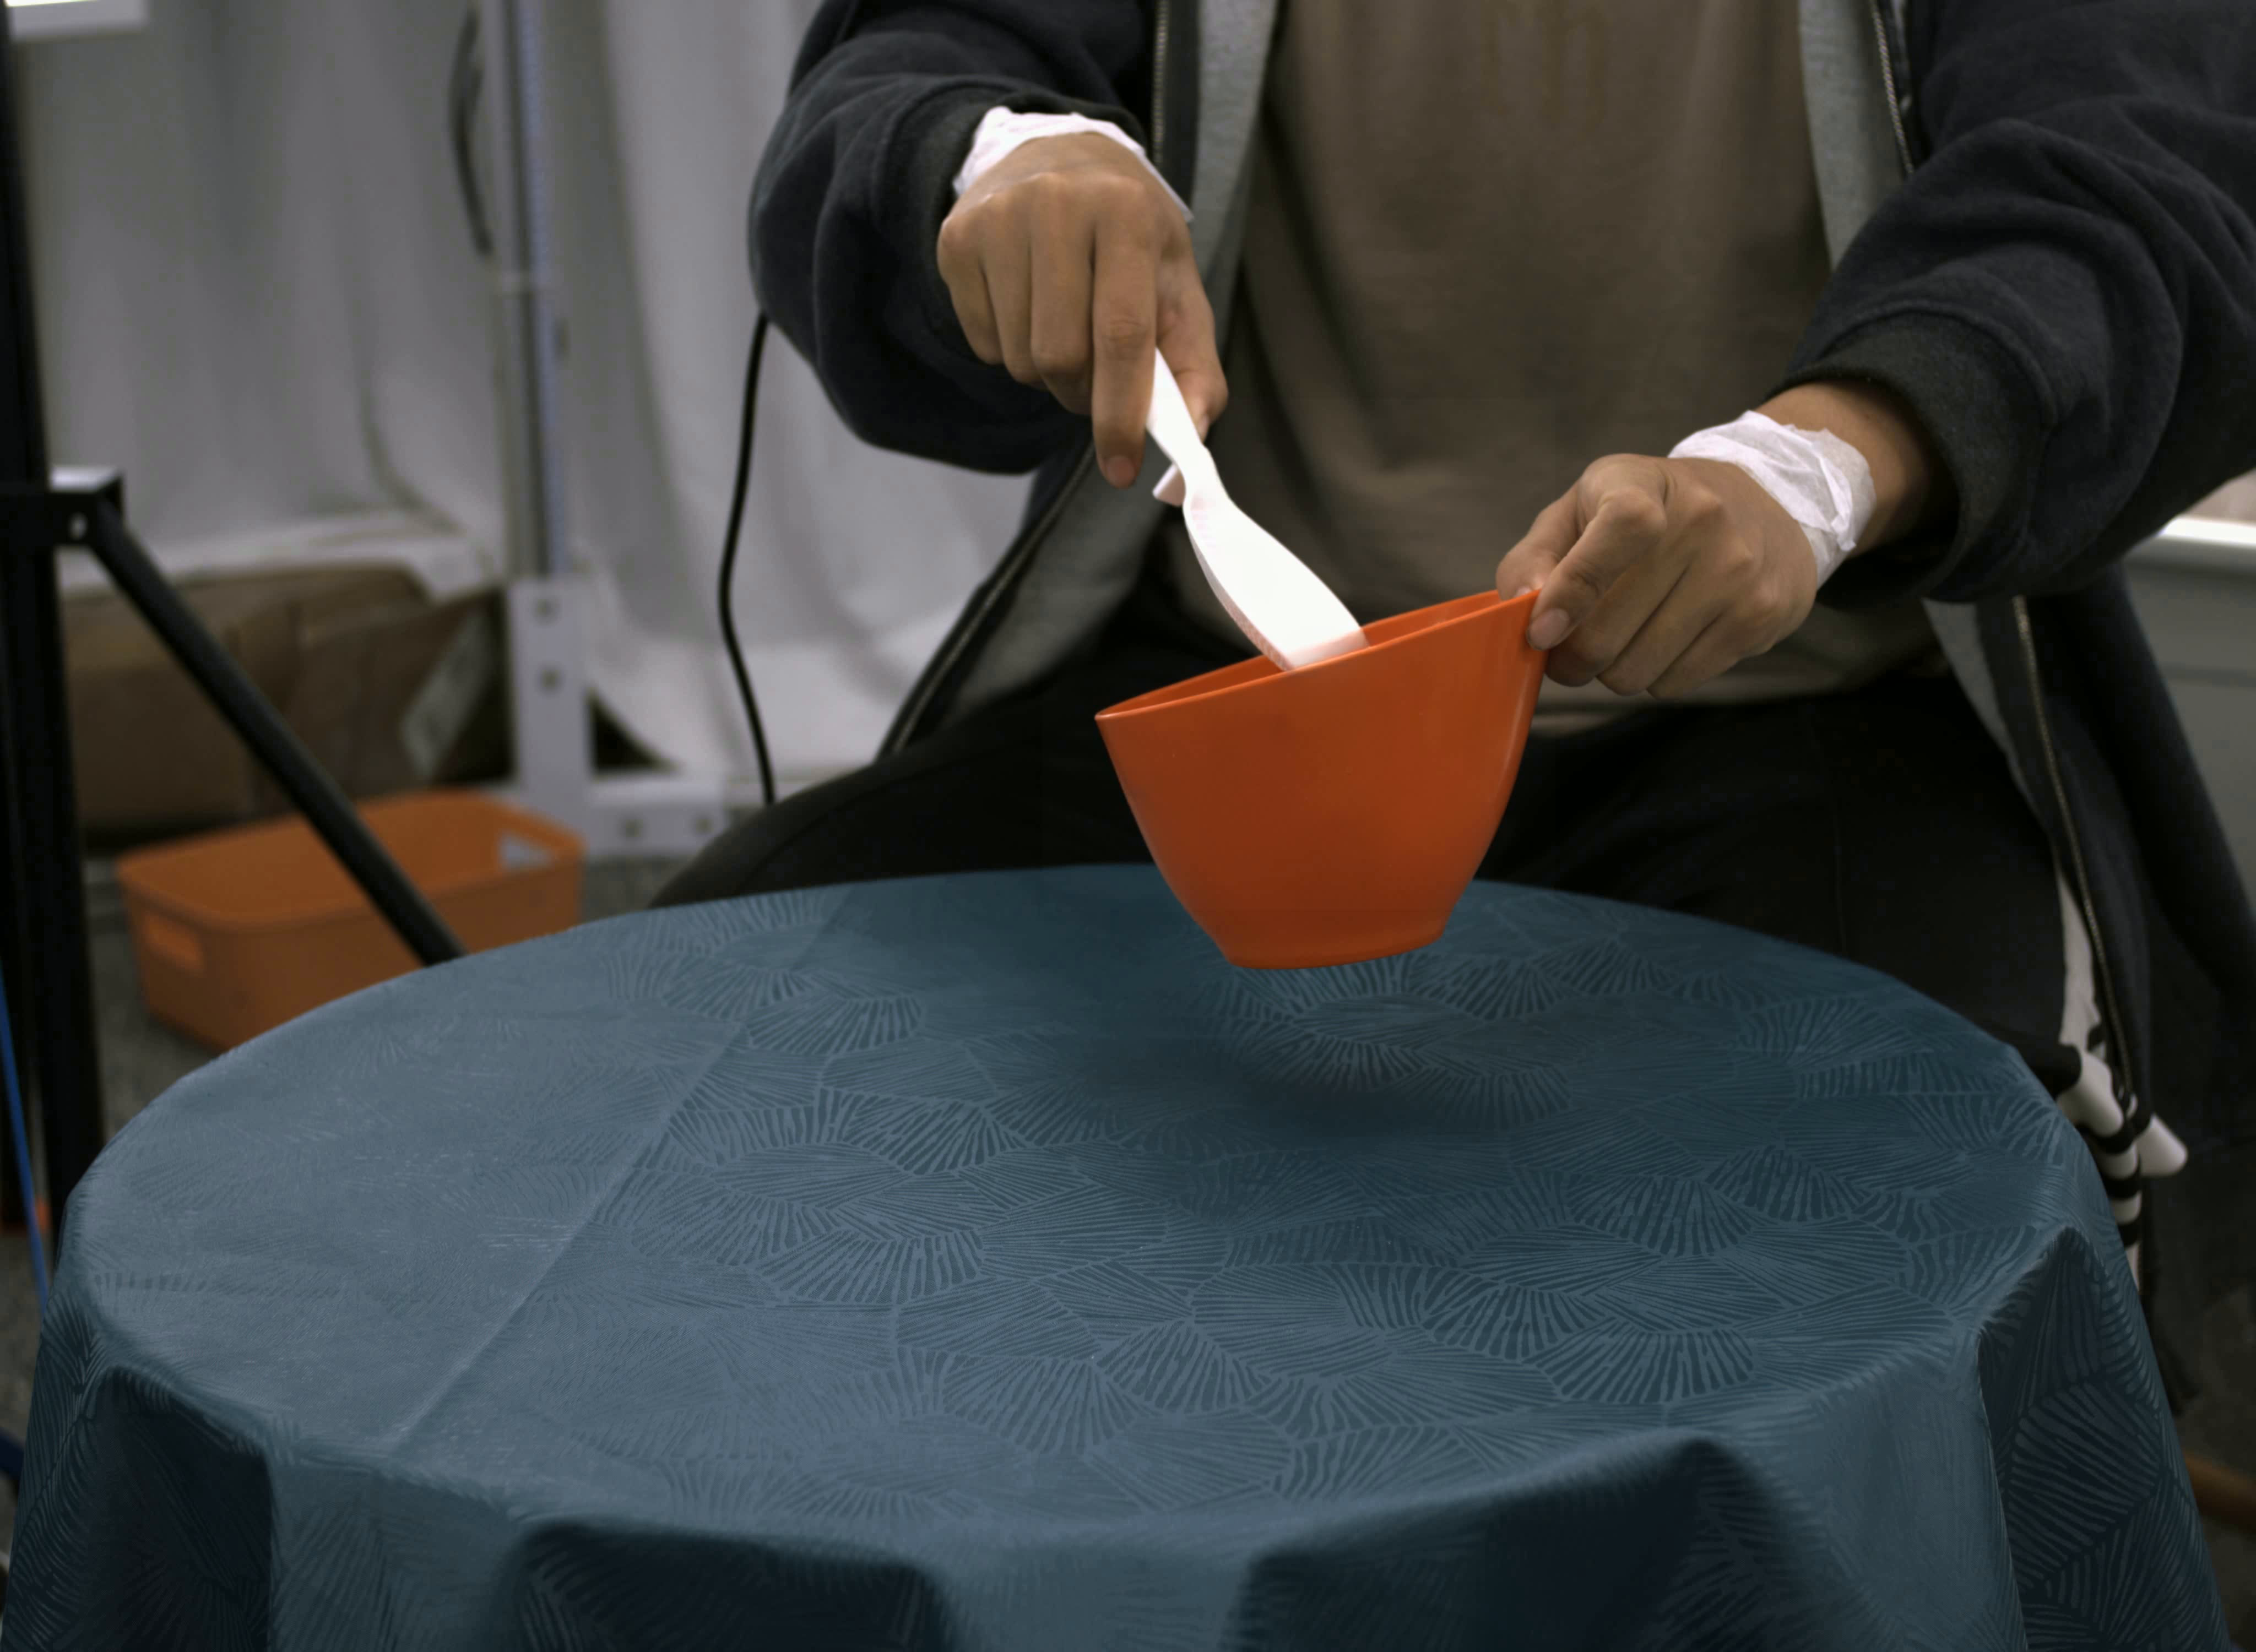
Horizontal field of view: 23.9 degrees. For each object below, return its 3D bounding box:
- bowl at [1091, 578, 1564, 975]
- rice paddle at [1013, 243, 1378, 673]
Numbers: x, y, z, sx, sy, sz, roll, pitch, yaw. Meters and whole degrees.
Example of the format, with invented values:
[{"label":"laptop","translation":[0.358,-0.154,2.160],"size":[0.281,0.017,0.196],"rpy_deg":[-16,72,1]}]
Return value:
[{"label":"bowl","translation":[0.065,-0.013,1.607],"size":[0.147,0.105,0.148],"rpy_deg":[-9,8,0]},{"label":"rice paddle","translation":[0.024,-0.106,1.650],"size":[0.067,0.029,0.209],"rpy_deg":[16,31,-46]}]
